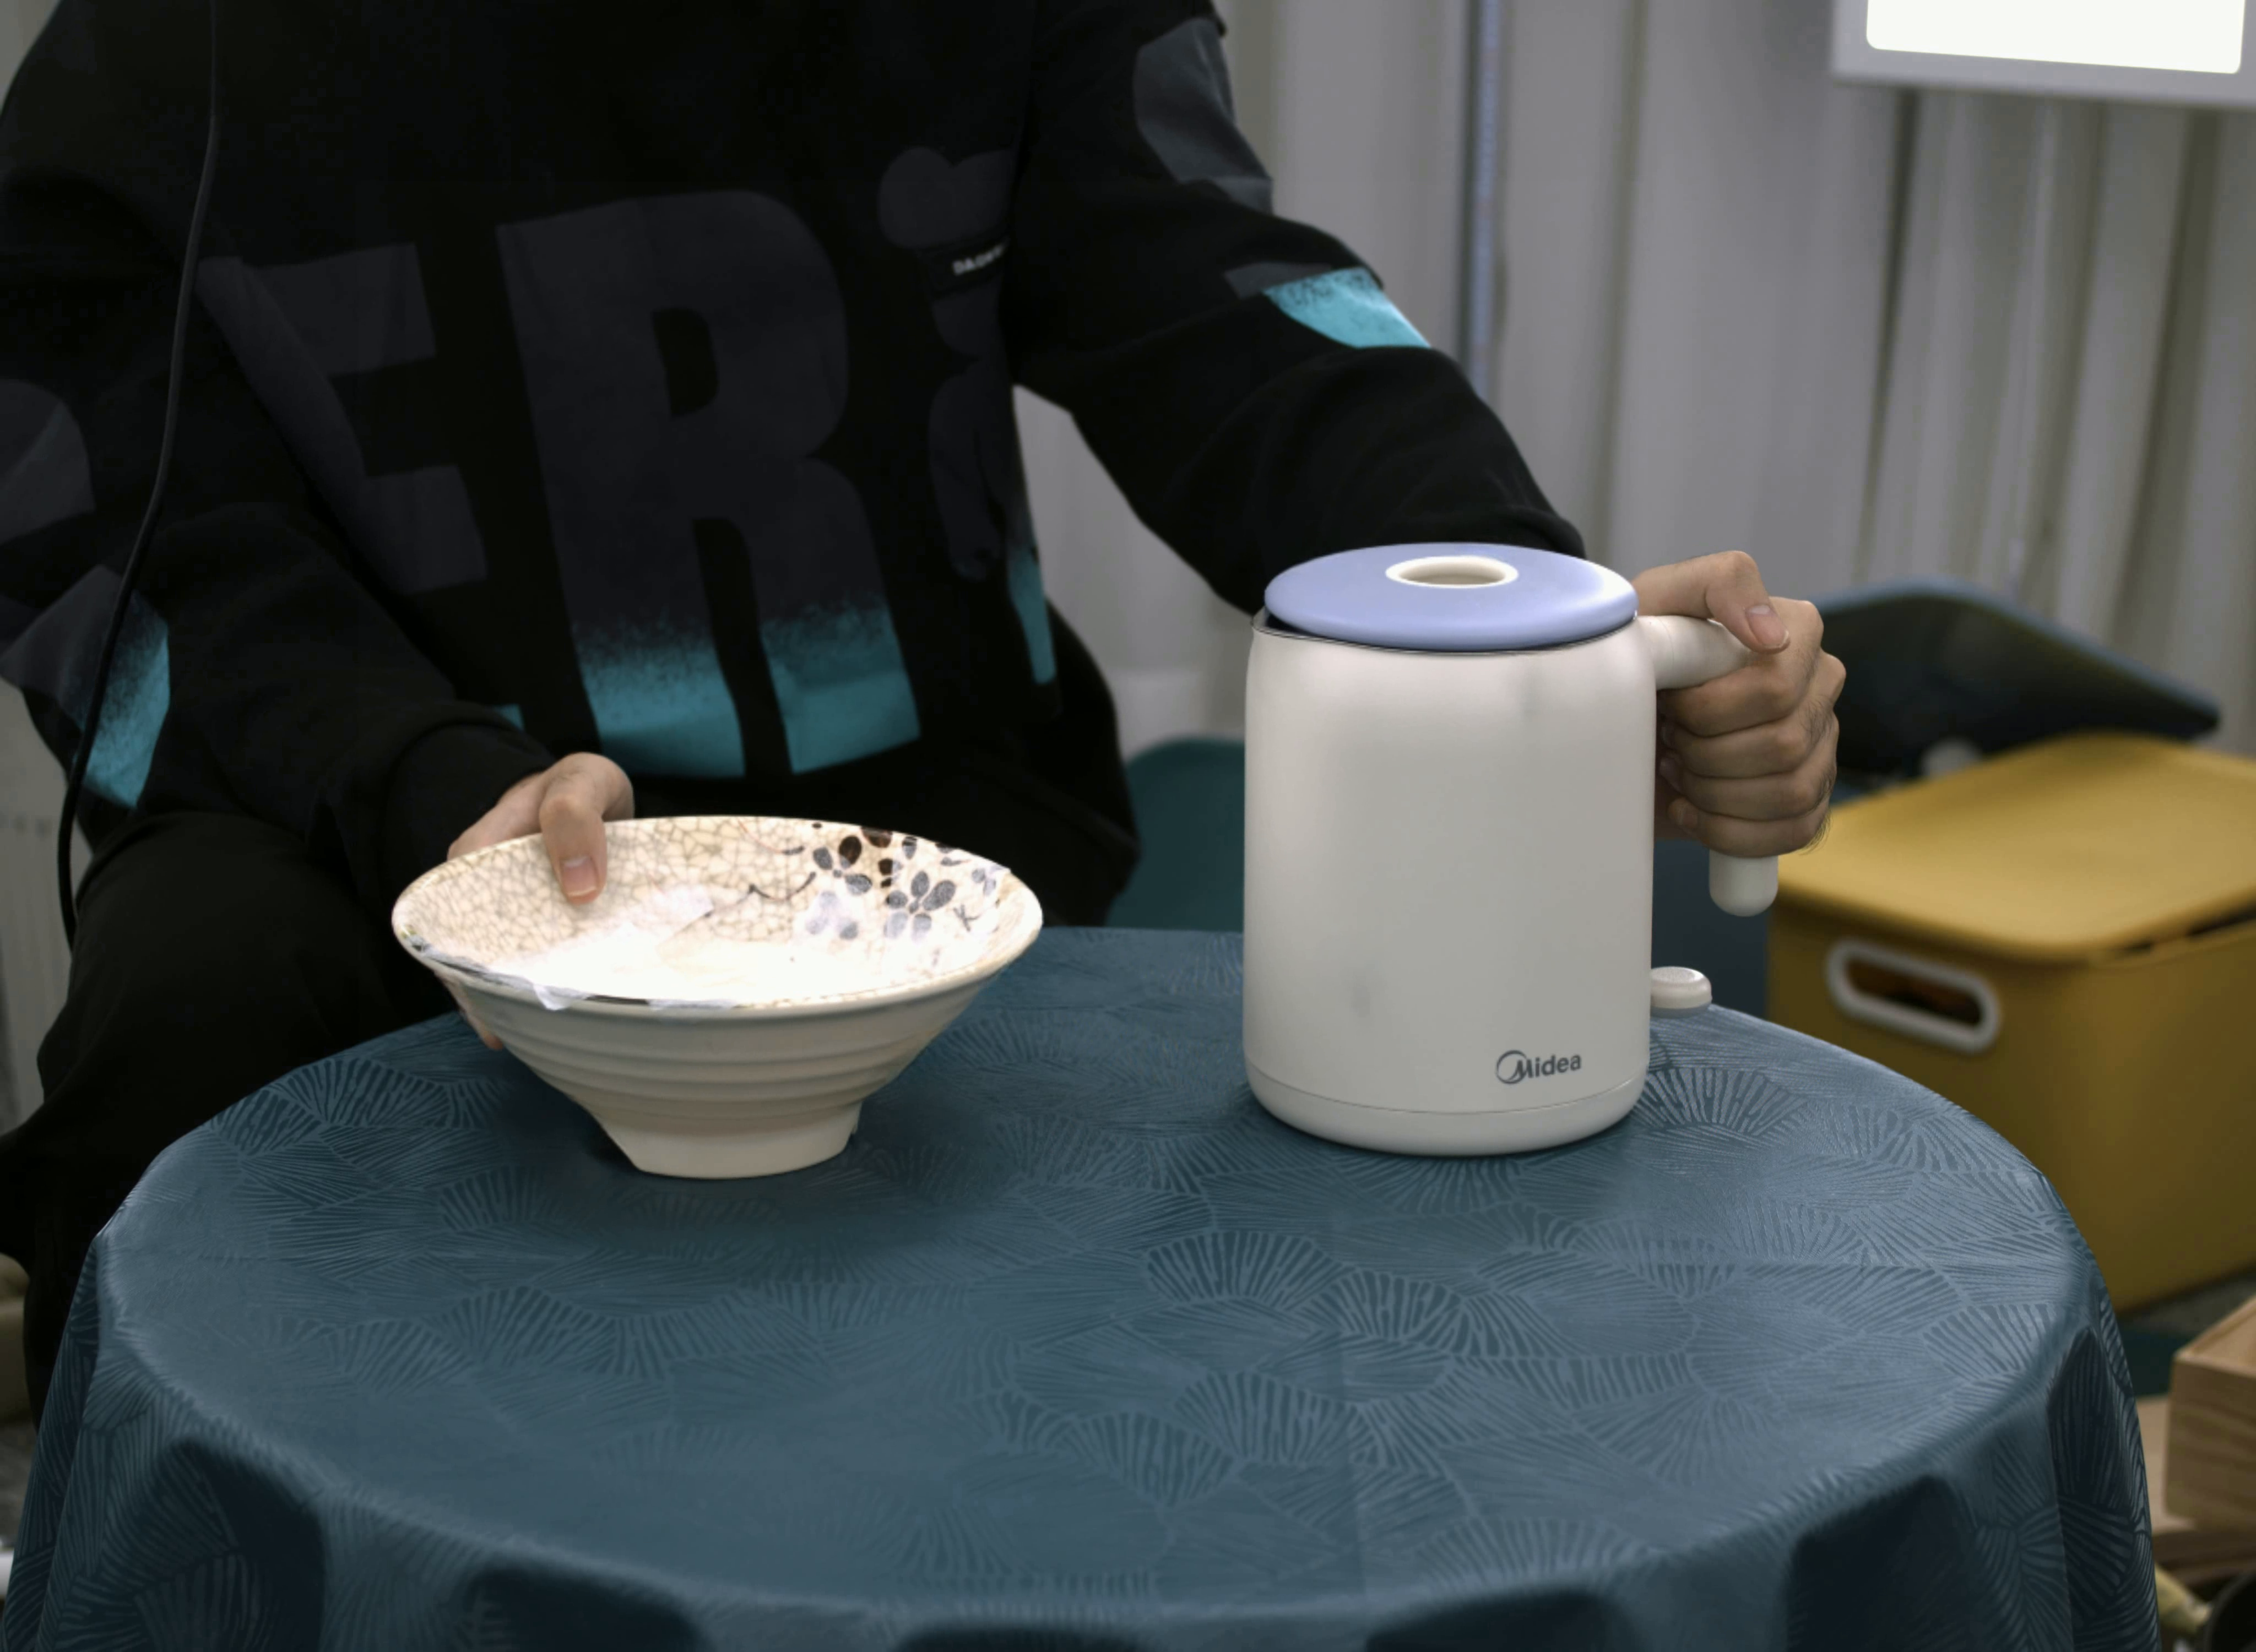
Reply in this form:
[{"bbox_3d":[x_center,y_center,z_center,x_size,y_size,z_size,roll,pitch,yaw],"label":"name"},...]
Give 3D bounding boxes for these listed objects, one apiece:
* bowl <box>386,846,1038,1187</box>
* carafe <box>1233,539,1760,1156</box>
[{"bbox_3d":[-0.130,0.064,1.651,0.203,0.078,0.203,2,12,0],"label":"bowl"},{"bbox_3d":[0.123,0.004,1.694,0.192,0.184,0.130,-5,18,-26],"label":"carafe"}]
